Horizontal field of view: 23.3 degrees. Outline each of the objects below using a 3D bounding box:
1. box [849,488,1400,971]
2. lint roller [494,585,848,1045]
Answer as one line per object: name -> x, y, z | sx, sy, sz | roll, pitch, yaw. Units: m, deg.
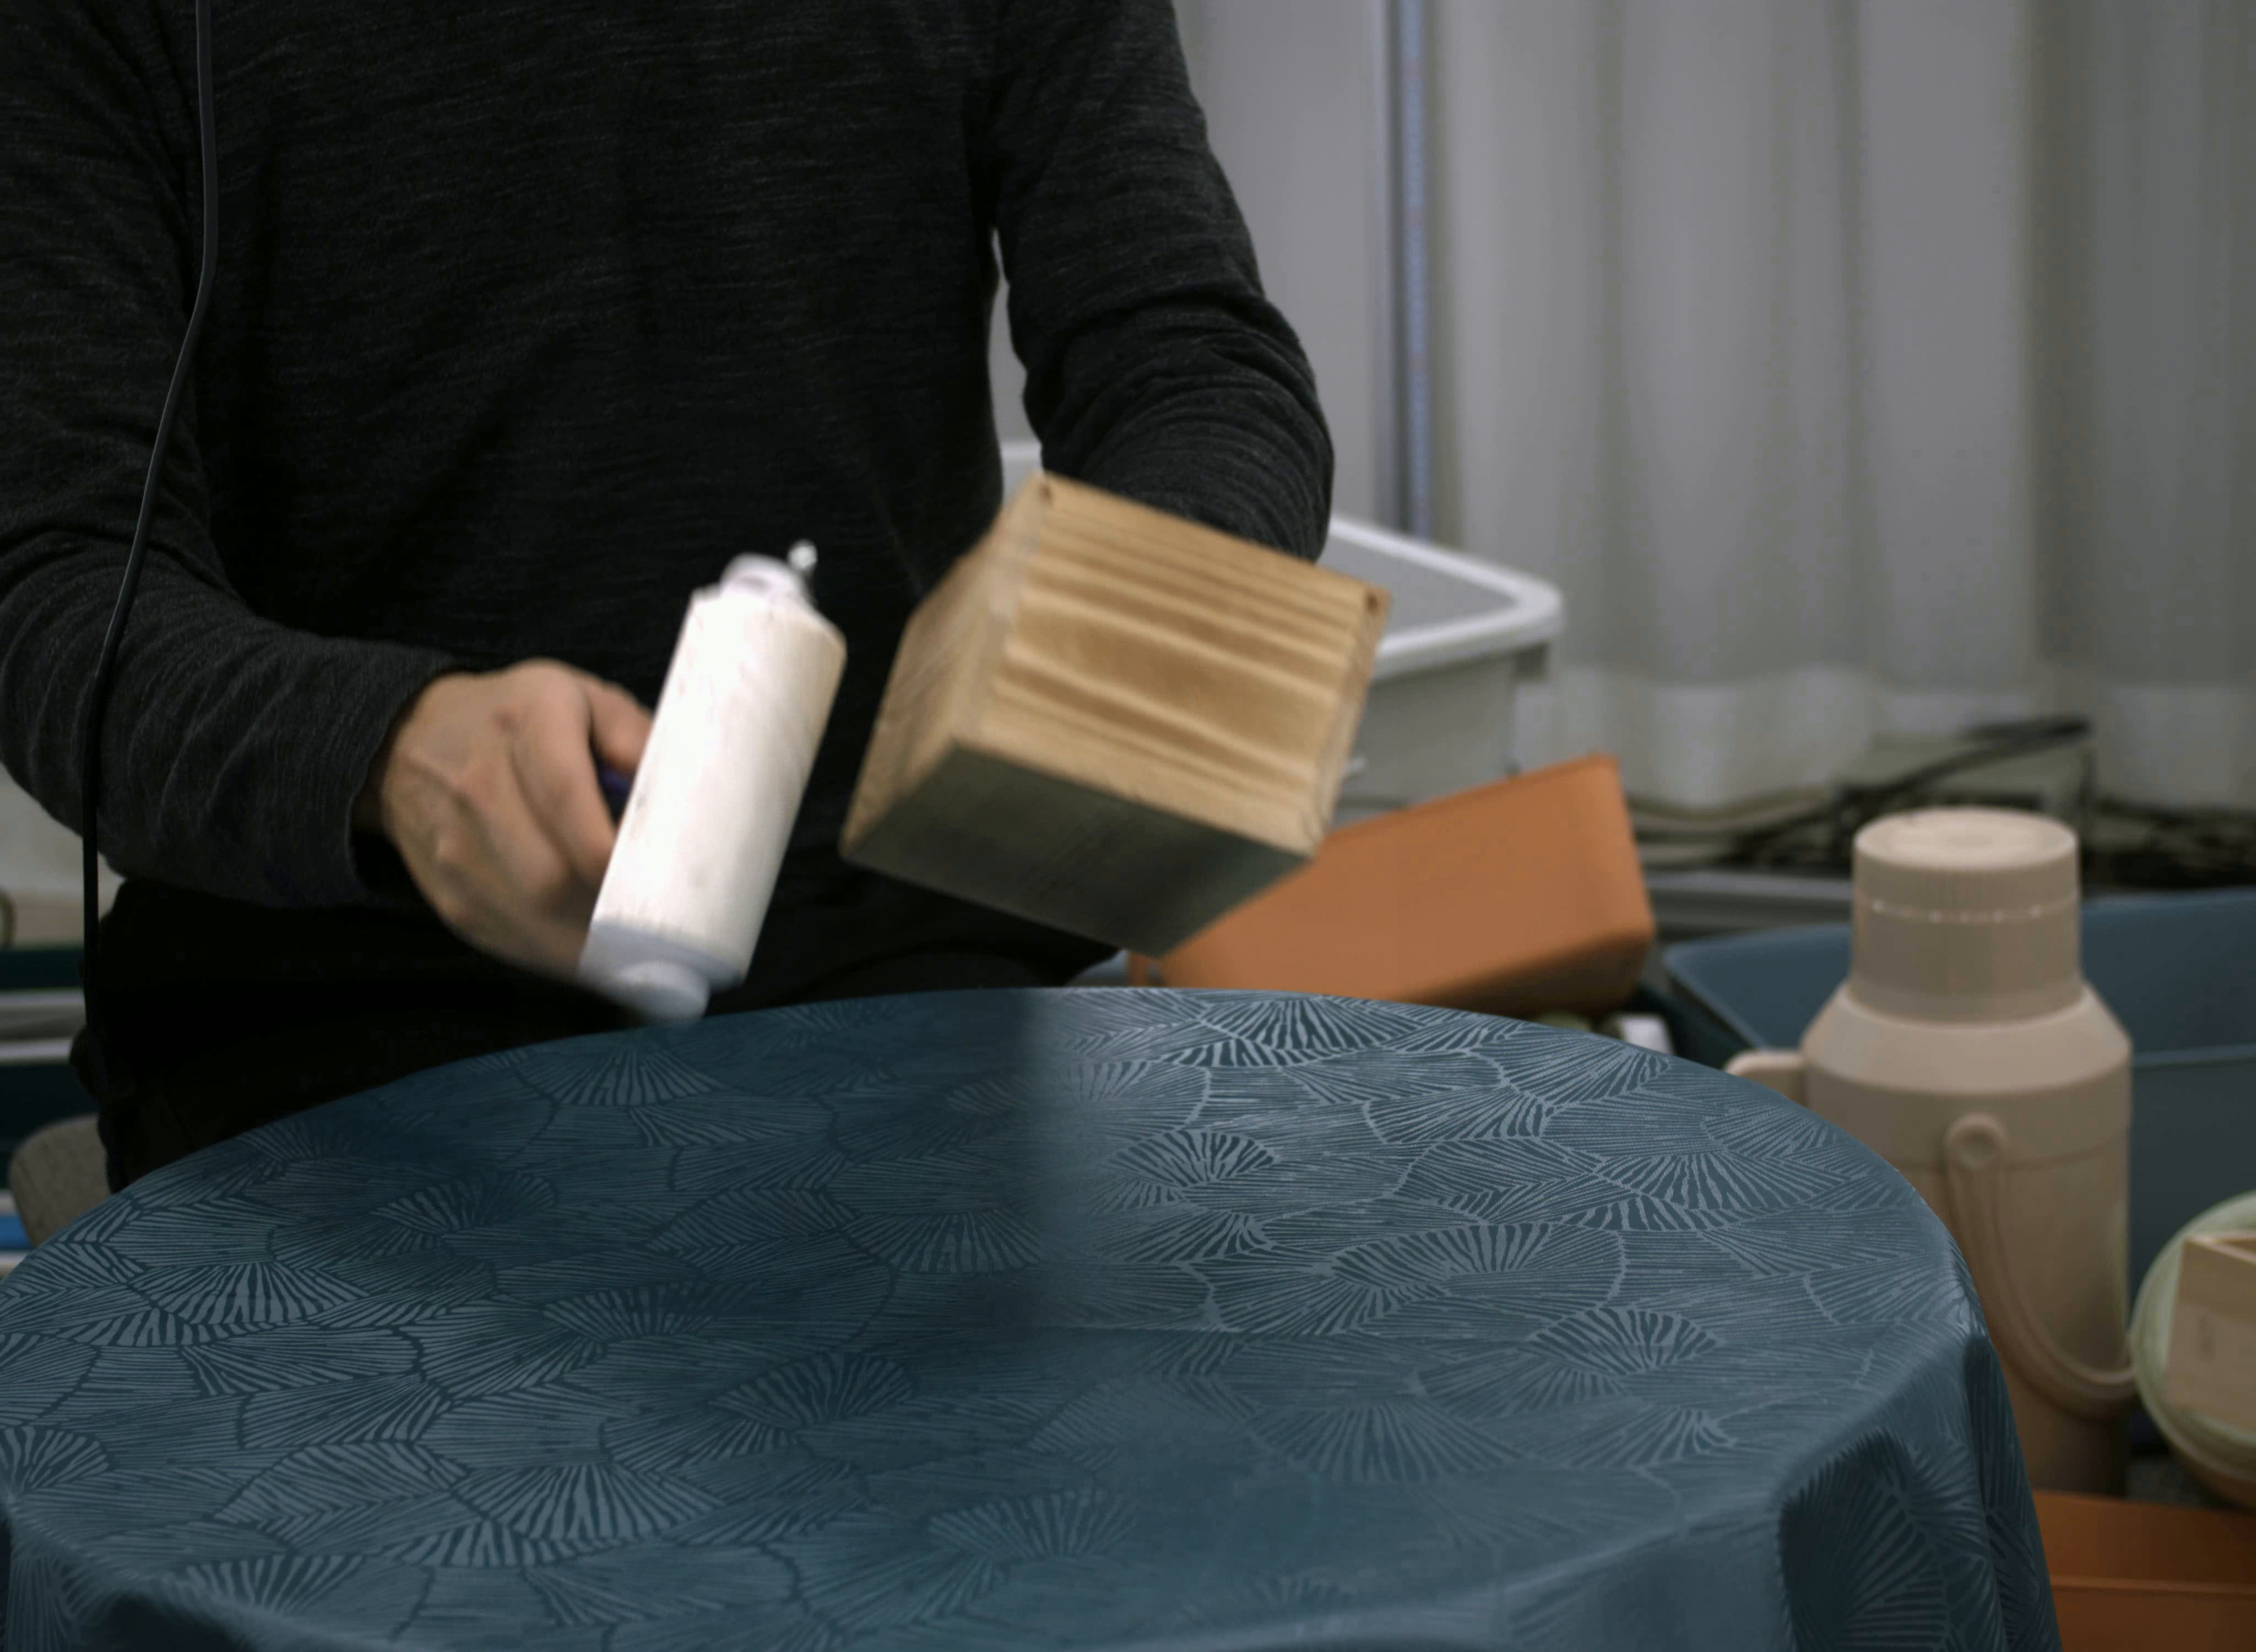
box -> -0.005, -0.023, 1.582 | 0.107, 0.081, 0.211 | 17, -13, -9
lint roller -> -0.152, -0.002, 1.593 | 0.049, 0.134, 0.181 | 27, -16, -31
